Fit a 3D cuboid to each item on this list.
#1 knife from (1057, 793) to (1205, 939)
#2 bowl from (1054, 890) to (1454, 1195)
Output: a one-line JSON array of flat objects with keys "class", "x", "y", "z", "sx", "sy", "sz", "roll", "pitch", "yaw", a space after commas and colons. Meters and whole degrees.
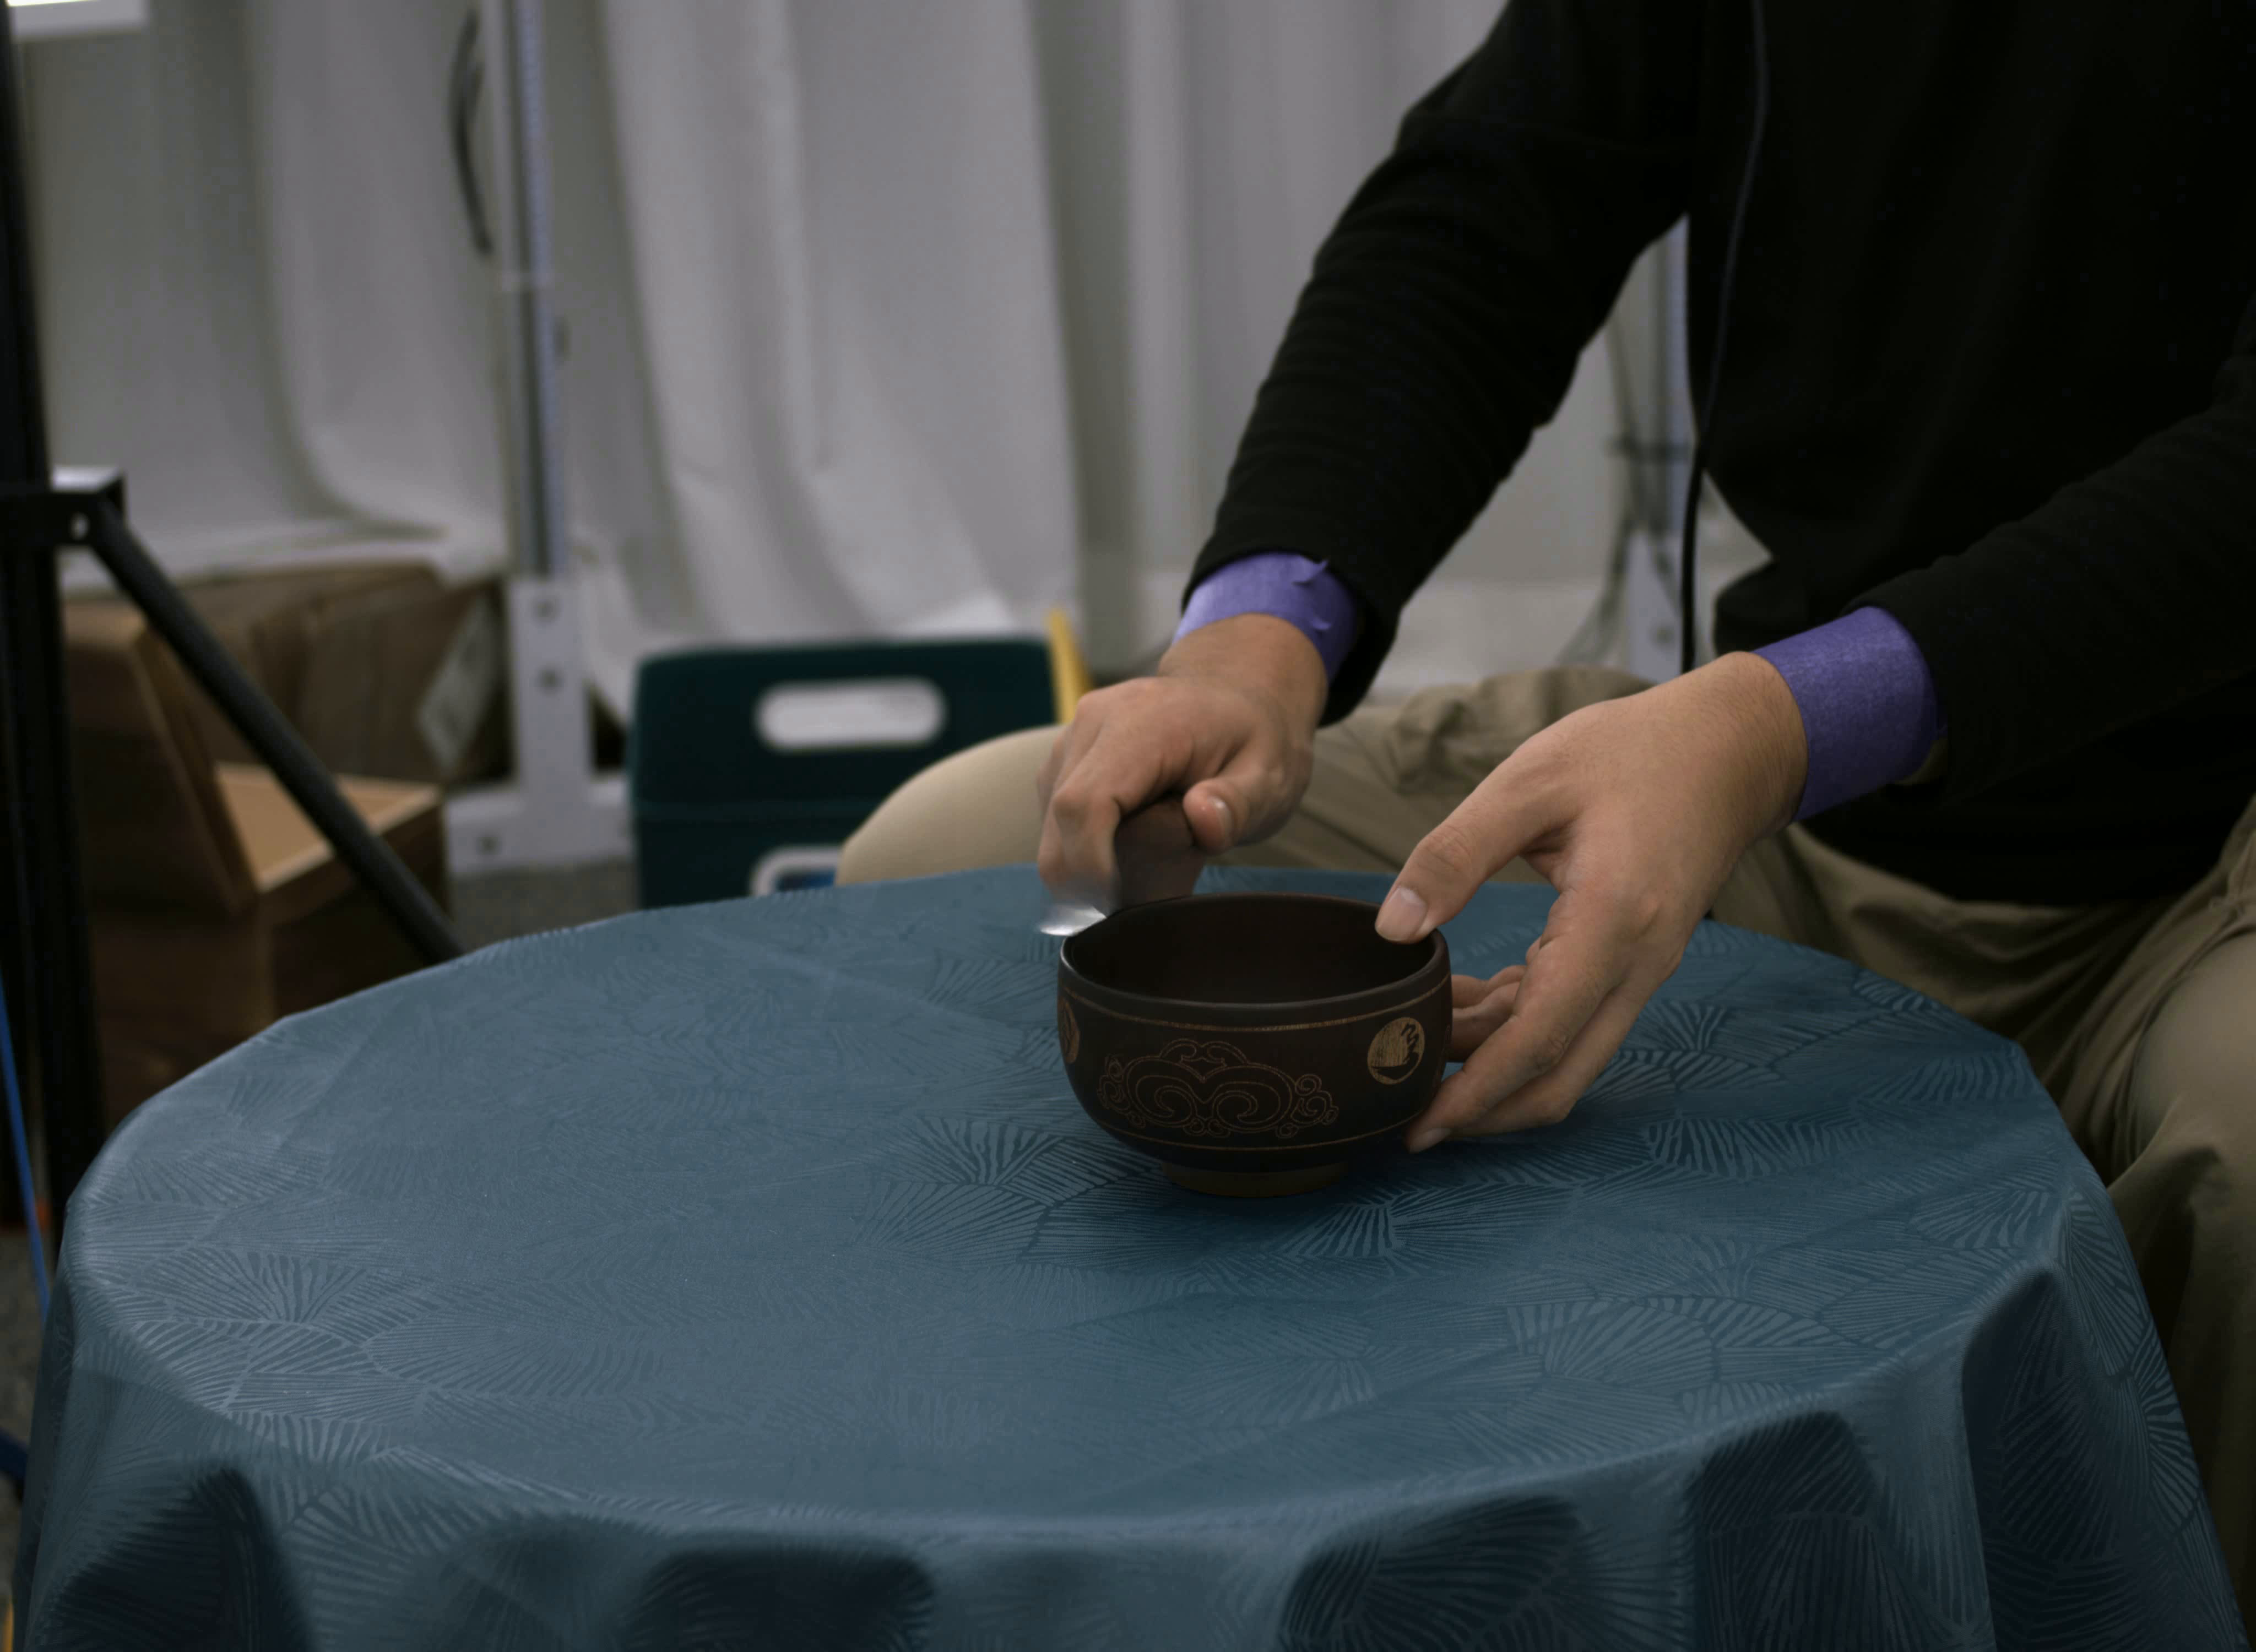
[{"class": "knife", "x": 0.002, "y": 0.014, "z": 1.643, "sx": 0.050, "sy": 0.020, "sz": 0.288, "roll": -28, "pitch": 3, "yaw": 6}, {"class": "bowl", "x": 0.037, "y": 0.067, "z": 1.561, "sx": 0.117, "sy": 0.070, "sz": 0.118, "roll": -1, "pitch": 15, "yaw": -1}]
